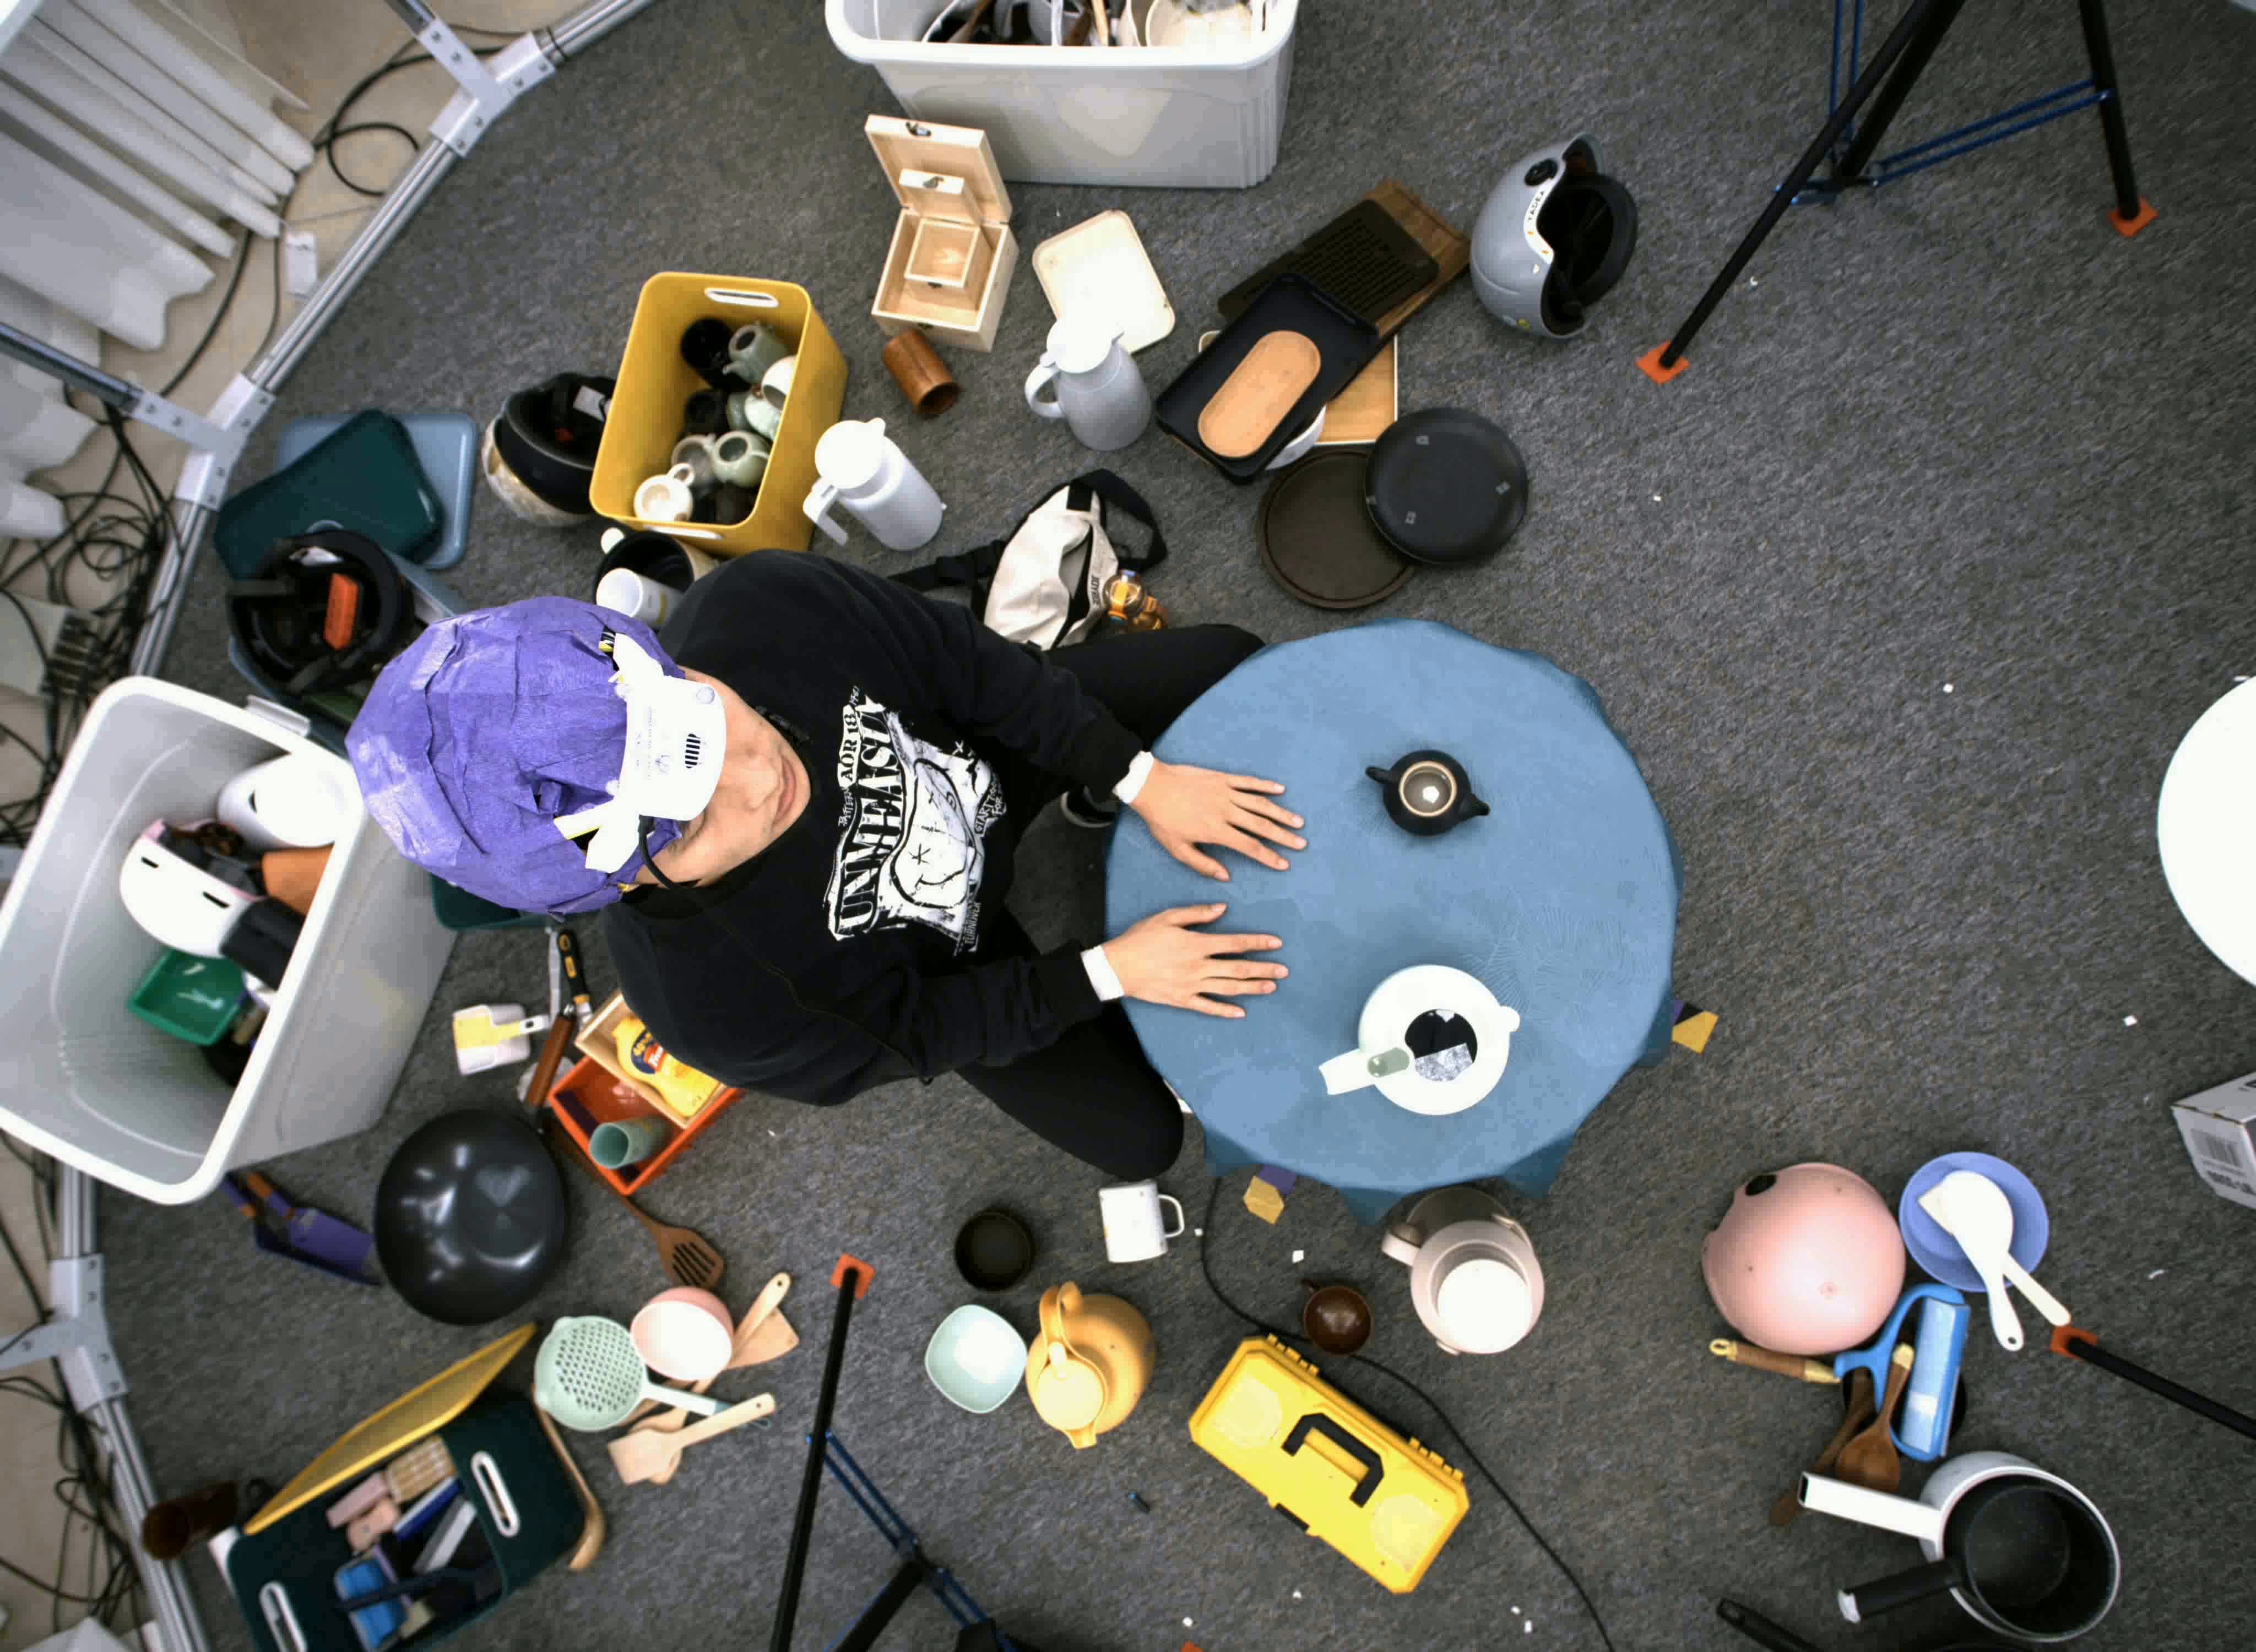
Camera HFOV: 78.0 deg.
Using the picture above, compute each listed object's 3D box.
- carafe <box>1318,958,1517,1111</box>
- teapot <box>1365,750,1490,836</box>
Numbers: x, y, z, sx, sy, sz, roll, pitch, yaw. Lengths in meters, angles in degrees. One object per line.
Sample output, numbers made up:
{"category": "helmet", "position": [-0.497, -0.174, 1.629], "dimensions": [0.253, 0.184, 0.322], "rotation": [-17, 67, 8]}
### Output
{"category": "carafe", "position": [0.278, 0.206, 1.327], "dimensions": [0.188, 0.256, 0.143], "rotation": [-21, 83, 12]}
{"category": "teapot", "position": [0.311, -0.037, 1.431], "dimensions": [0.133, 0.053, 0.091], "rotation": [21, 89, 11]}
